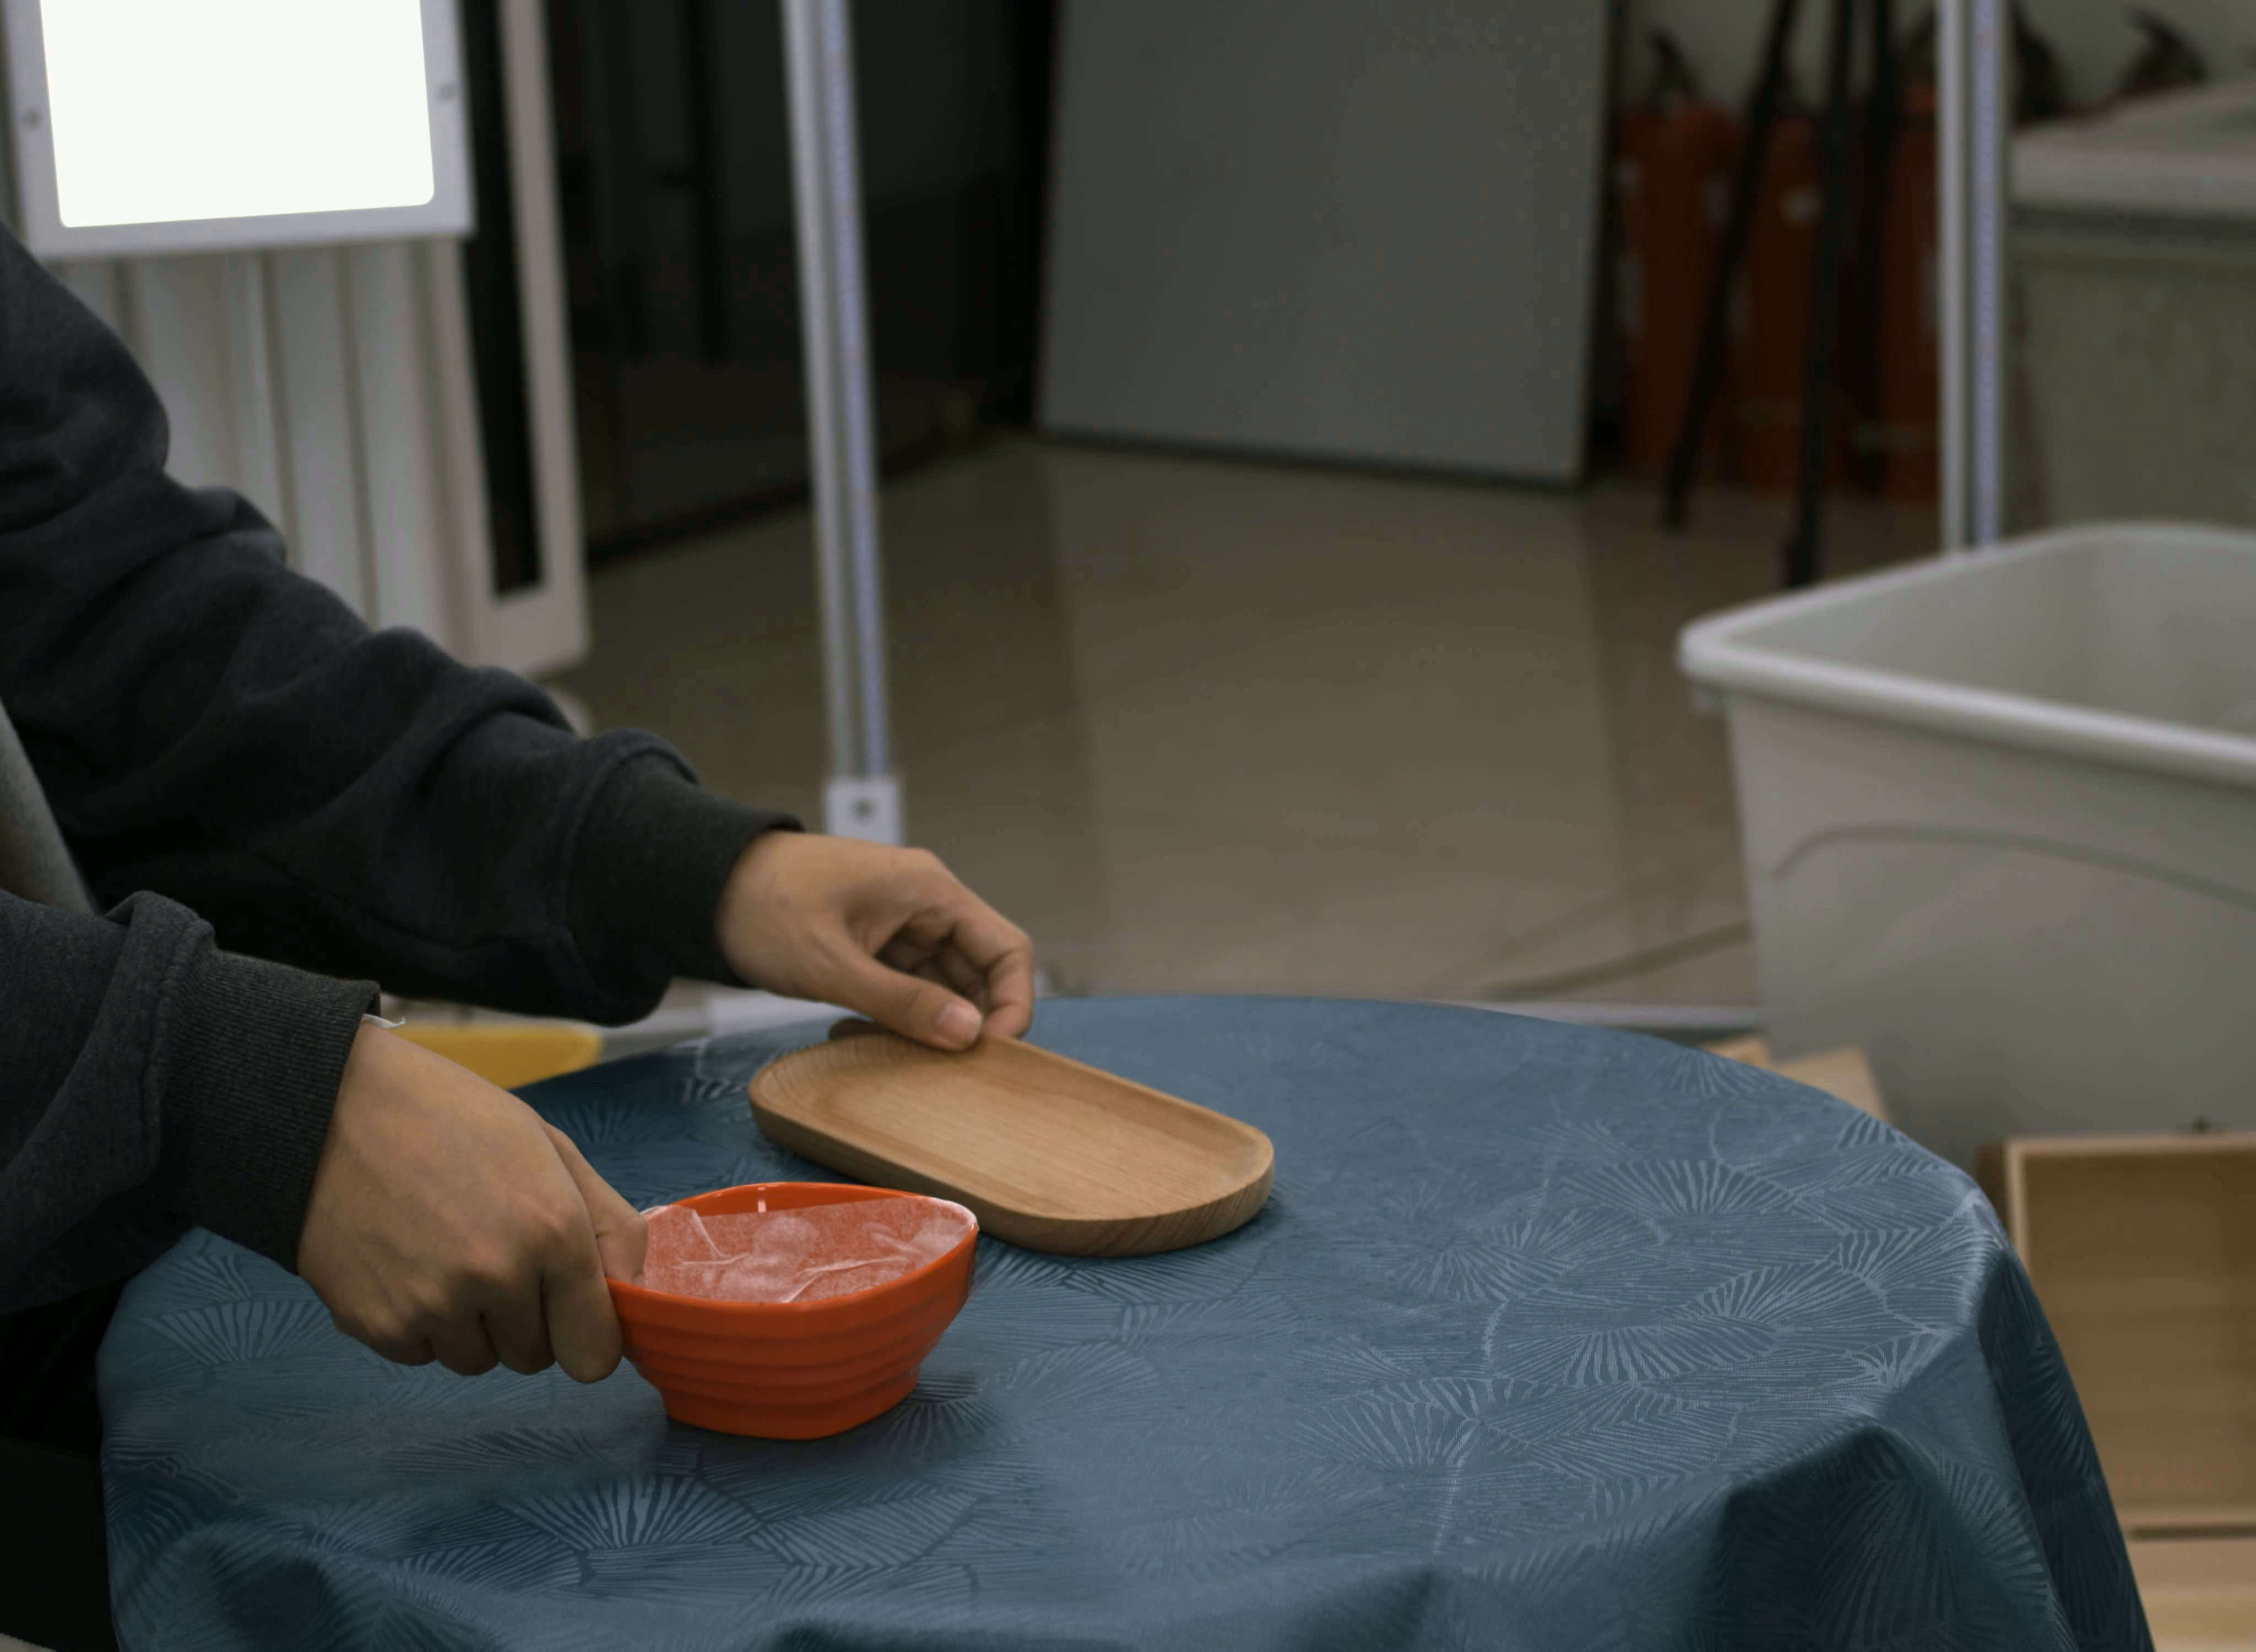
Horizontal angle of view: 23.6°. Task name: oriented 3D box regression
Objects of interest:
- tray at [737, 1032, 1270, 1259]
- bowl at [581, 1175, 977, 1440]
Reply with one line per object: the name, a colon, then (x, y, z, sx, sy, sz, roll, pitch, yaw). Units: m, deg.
tray: (-0.043, 0.105, 1.801, 0.099, 0.020, 0.233, -16, 18, -35)
bowl: (-0.101, 0.144, 1.590, 0.117, 0.052, 0.119, -4, 14, 0)
